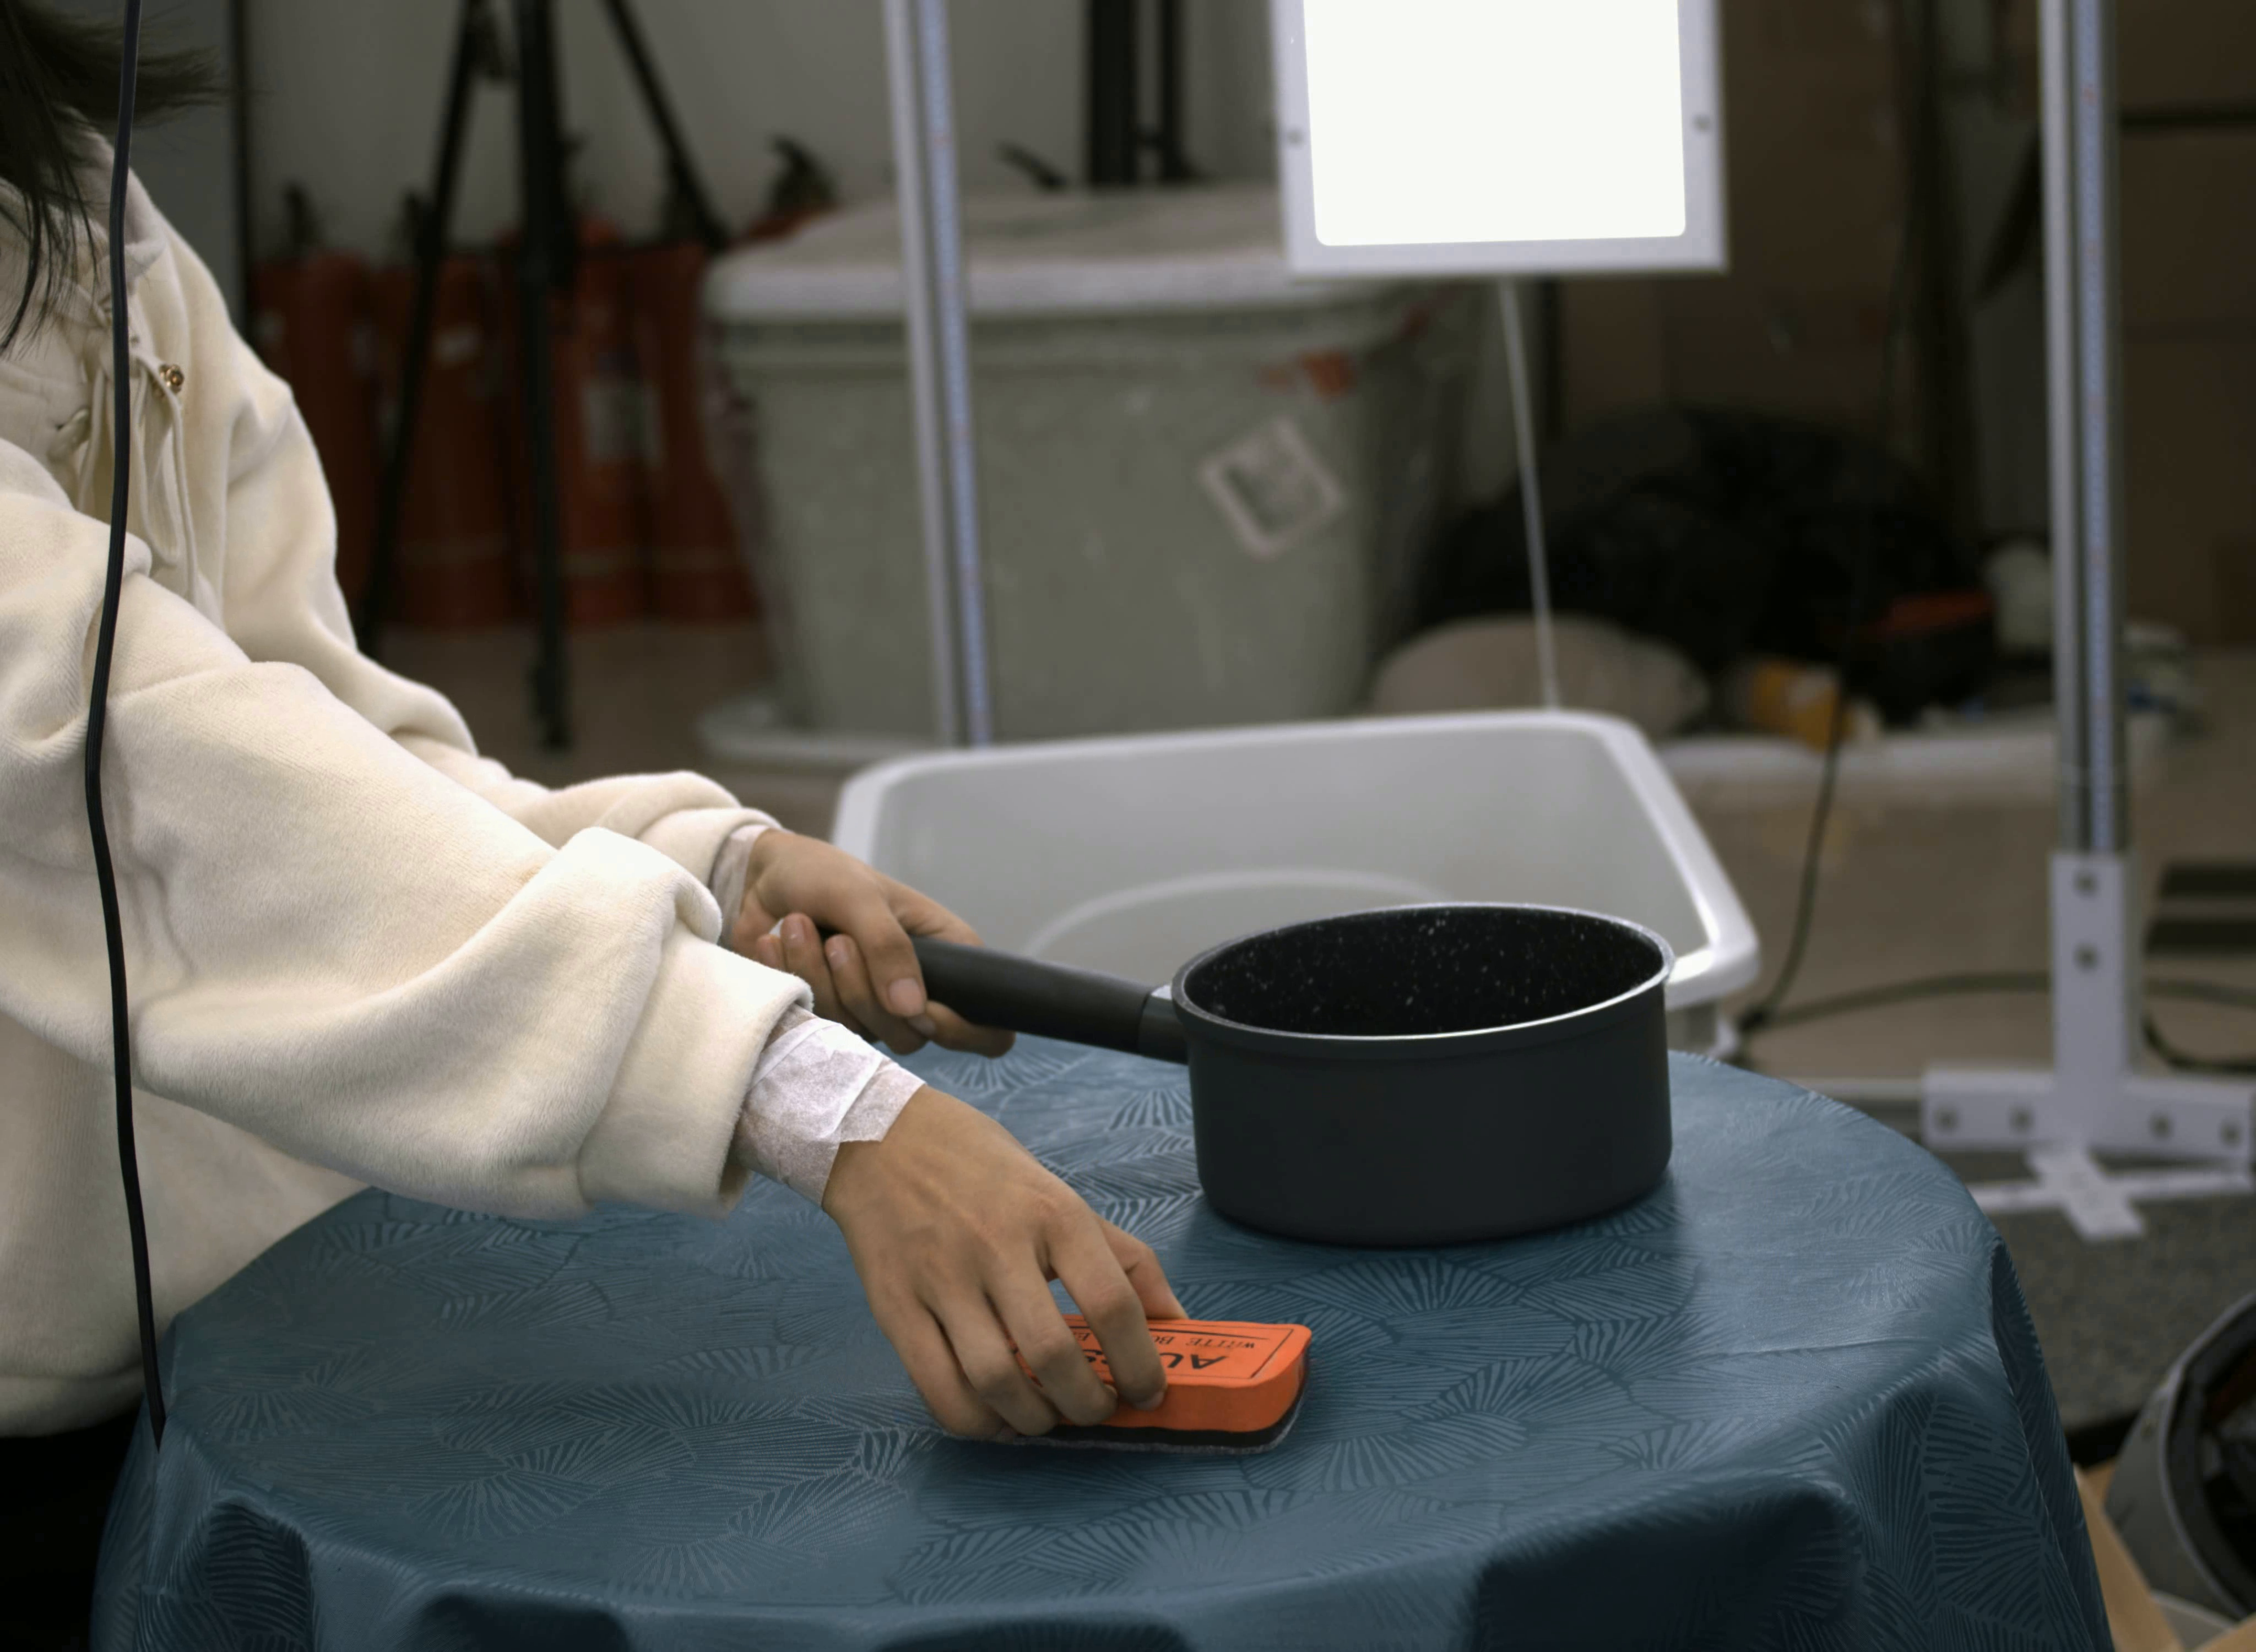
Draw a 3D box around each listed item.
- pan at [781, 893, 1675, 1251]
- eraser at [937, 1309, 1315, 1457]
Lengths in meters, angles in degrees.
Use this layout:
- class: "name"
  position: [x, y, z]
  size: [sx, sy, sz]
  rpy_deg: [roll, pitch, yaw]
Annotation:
- class: "pan"
  position: [0.030, 0.078, 1.908]
  size: [0.334, 0.087, 0.168]
  rpy_deg: [3, 16, 26]
- class: "eraser"
  position: [0.000, 0.169, 1.676]
  size: [0.109, 0.023, 0.058]
  rpy_deg: [1, 16, 23]
